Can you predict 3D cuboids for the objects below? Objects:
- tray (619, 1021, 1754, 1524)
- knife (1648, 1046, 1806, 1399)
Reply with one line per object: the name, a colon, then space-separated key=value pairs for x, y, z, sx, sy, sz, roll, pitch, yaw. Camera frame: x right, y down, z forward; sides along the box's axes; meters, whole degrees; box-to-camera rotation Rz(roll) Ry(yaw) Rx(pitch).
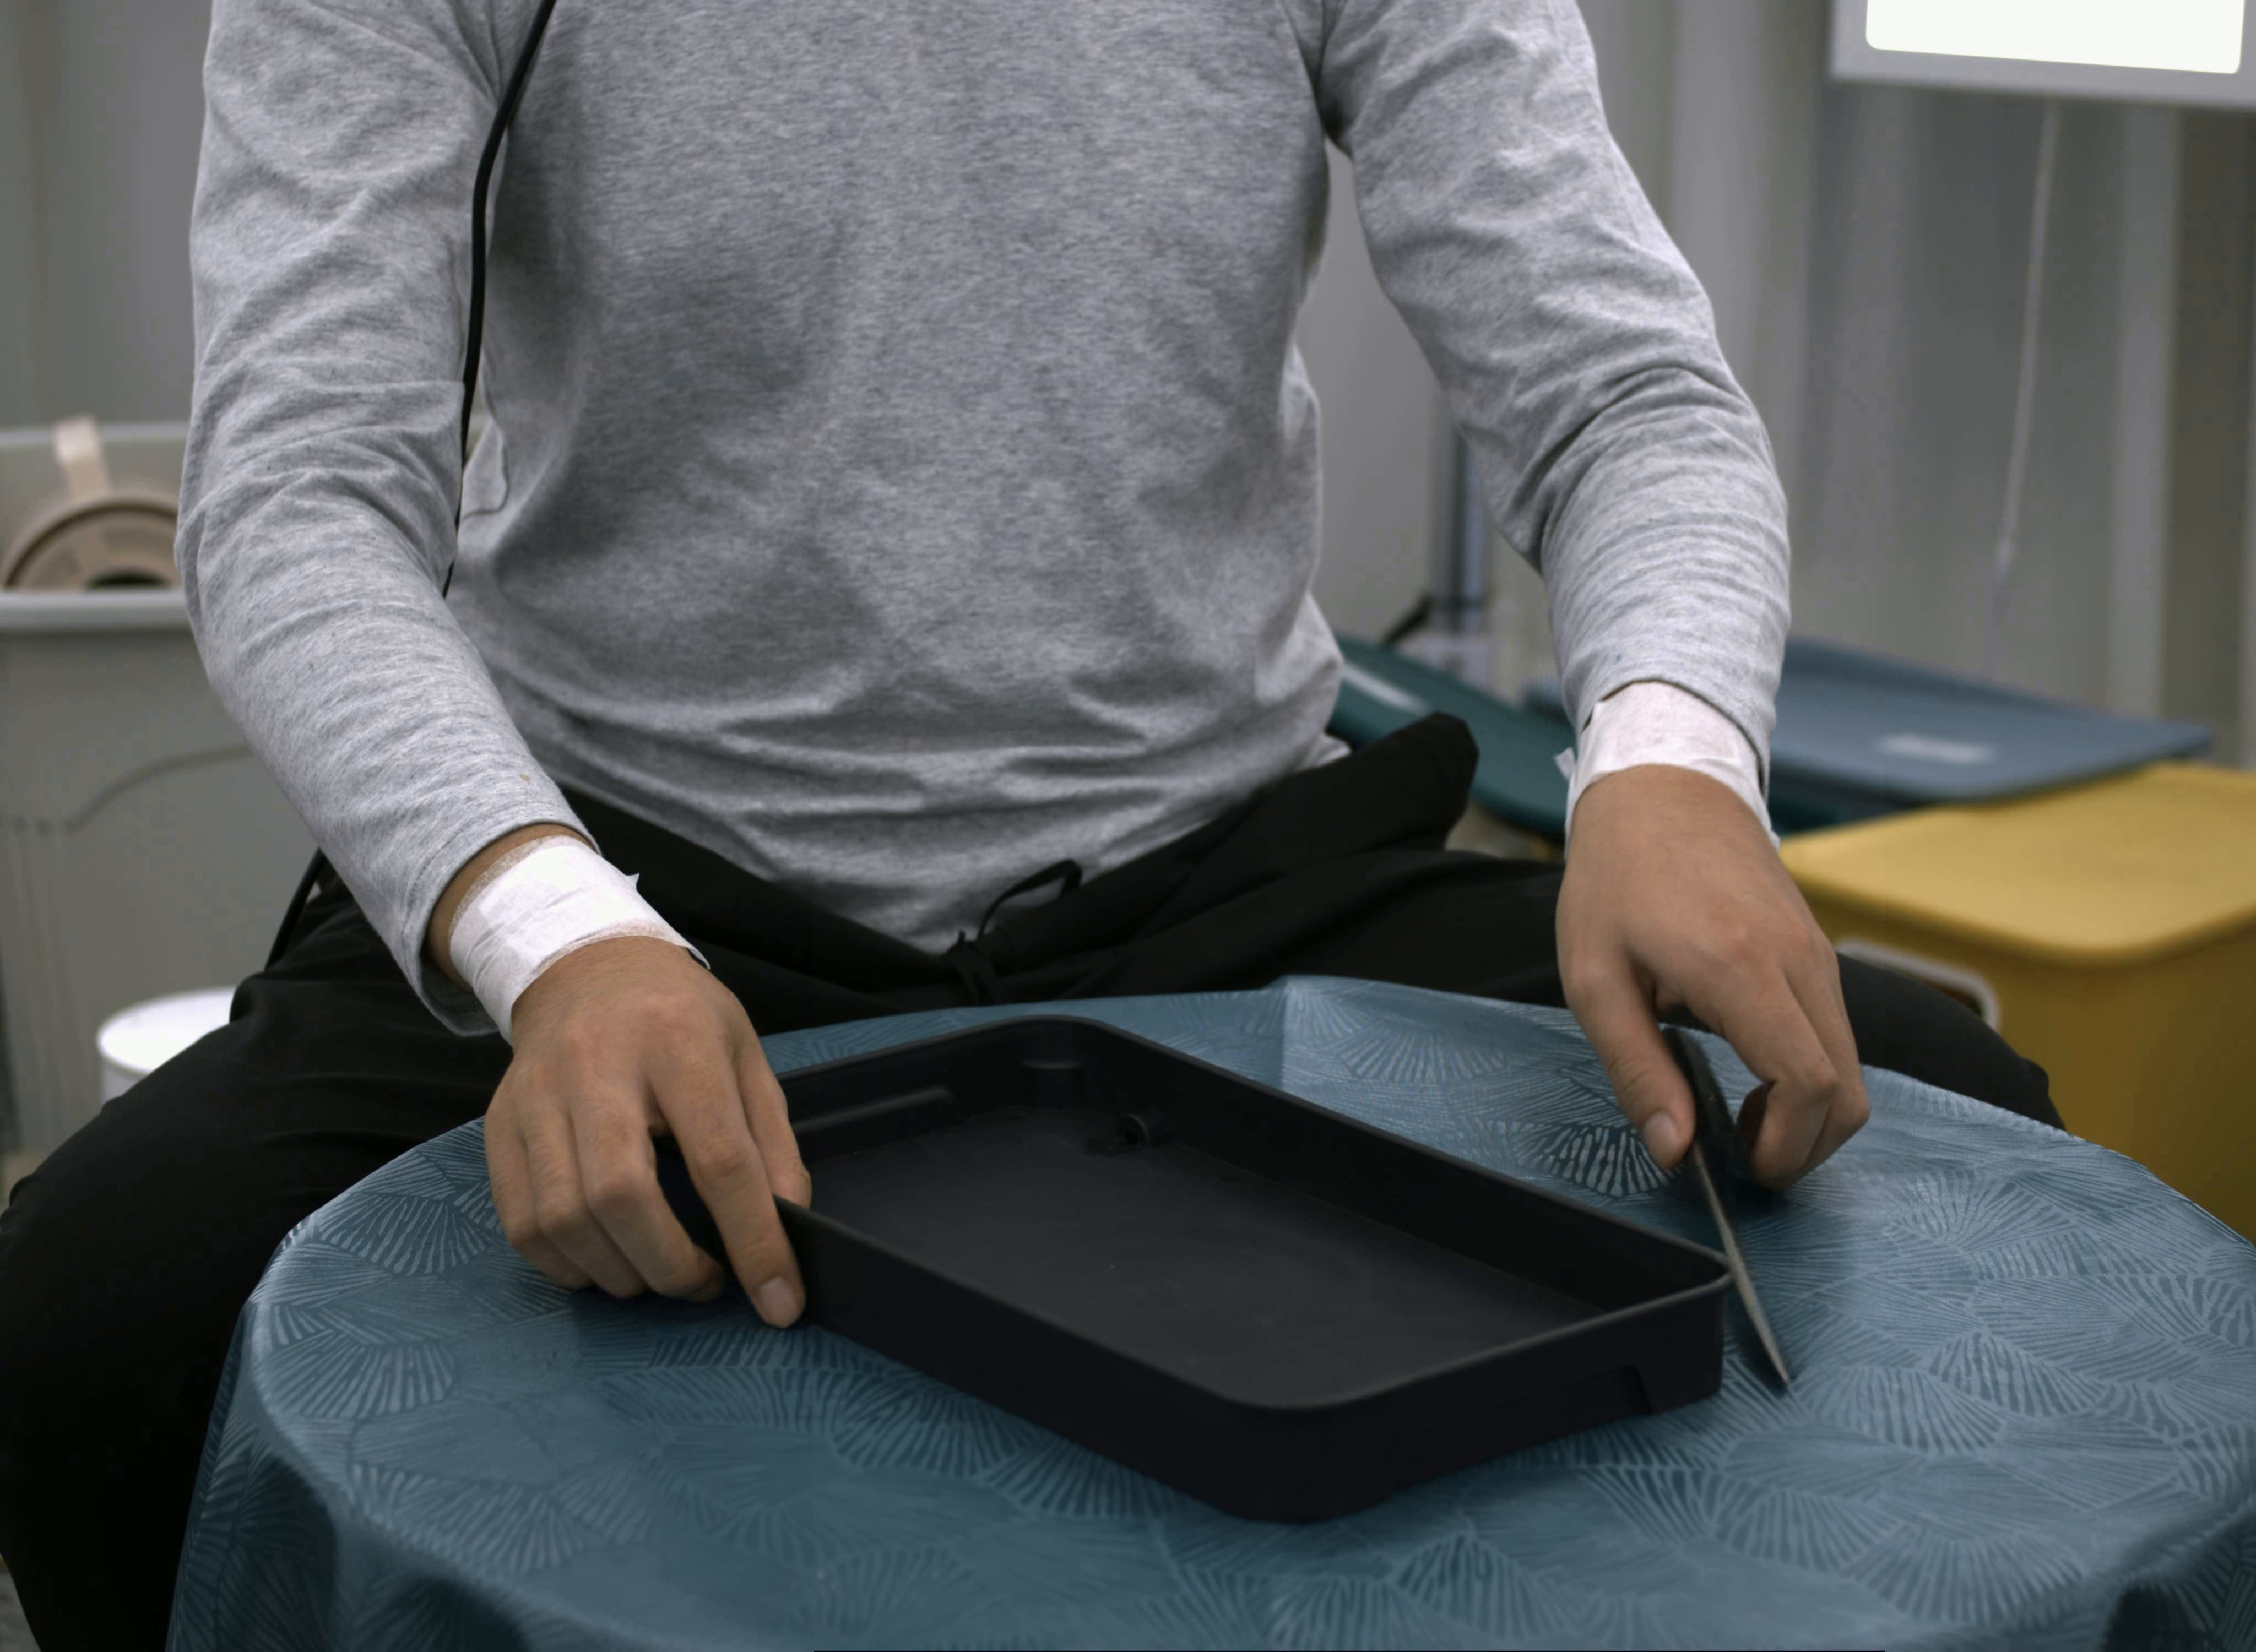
tray: x=0.011 y=0.122 z=1.521 sx=0.185 sy=0.037 sz=0.313 roll=-12 pitch=19 yaw=-40
knife: x=0.179 y=0.116 z=1.573 sx=0.024 sy=0.016 sz=0.236 roll=38 pitch=14 yaw=-15
